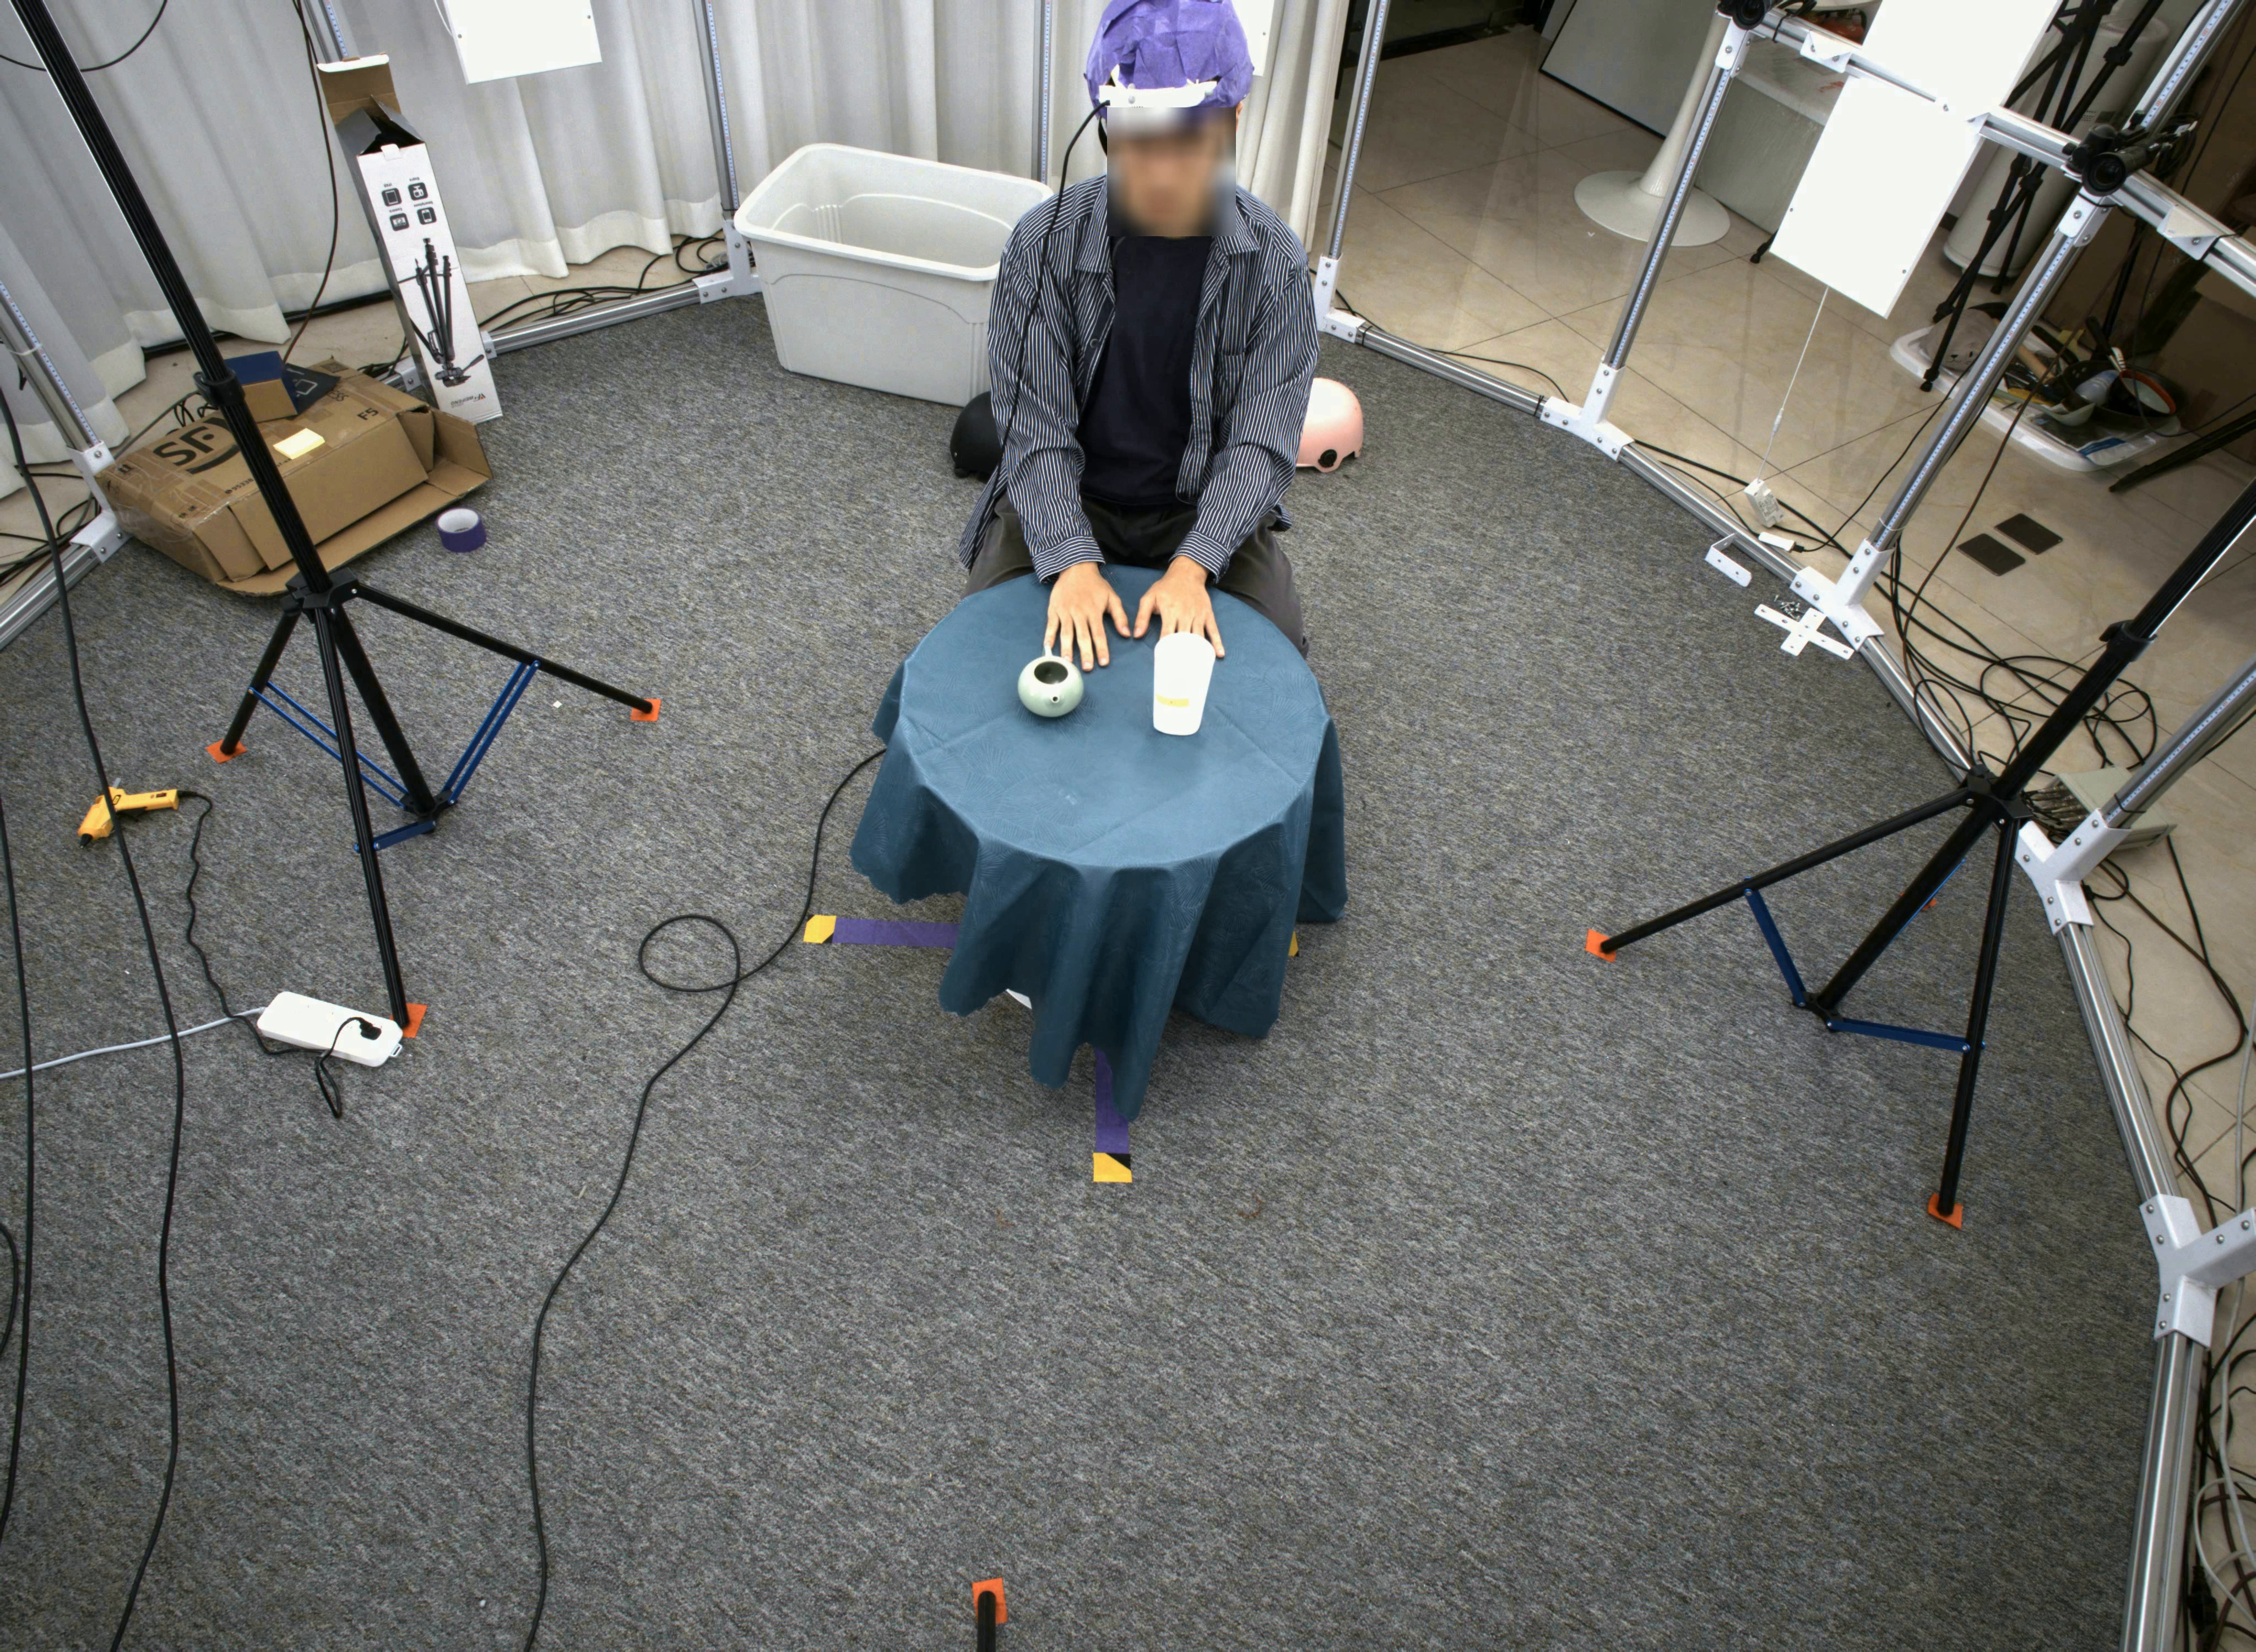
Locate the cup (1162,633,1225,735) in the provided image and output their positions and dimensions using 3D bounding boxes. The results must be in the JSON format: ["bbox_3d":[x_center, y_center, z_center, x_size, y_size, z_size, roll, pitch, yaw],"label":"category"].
[{"bbox_3d":[0.085,-0.190,1.747,0.081,0.122,0.084,3,49,-3],"label":"cup"}]

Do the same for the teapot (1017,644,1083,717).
[{"bbox_3d":[-0.109,-0.201,1.787,0.091,0.059,0.132,-1,48,-4],"label":"teapot"}]
